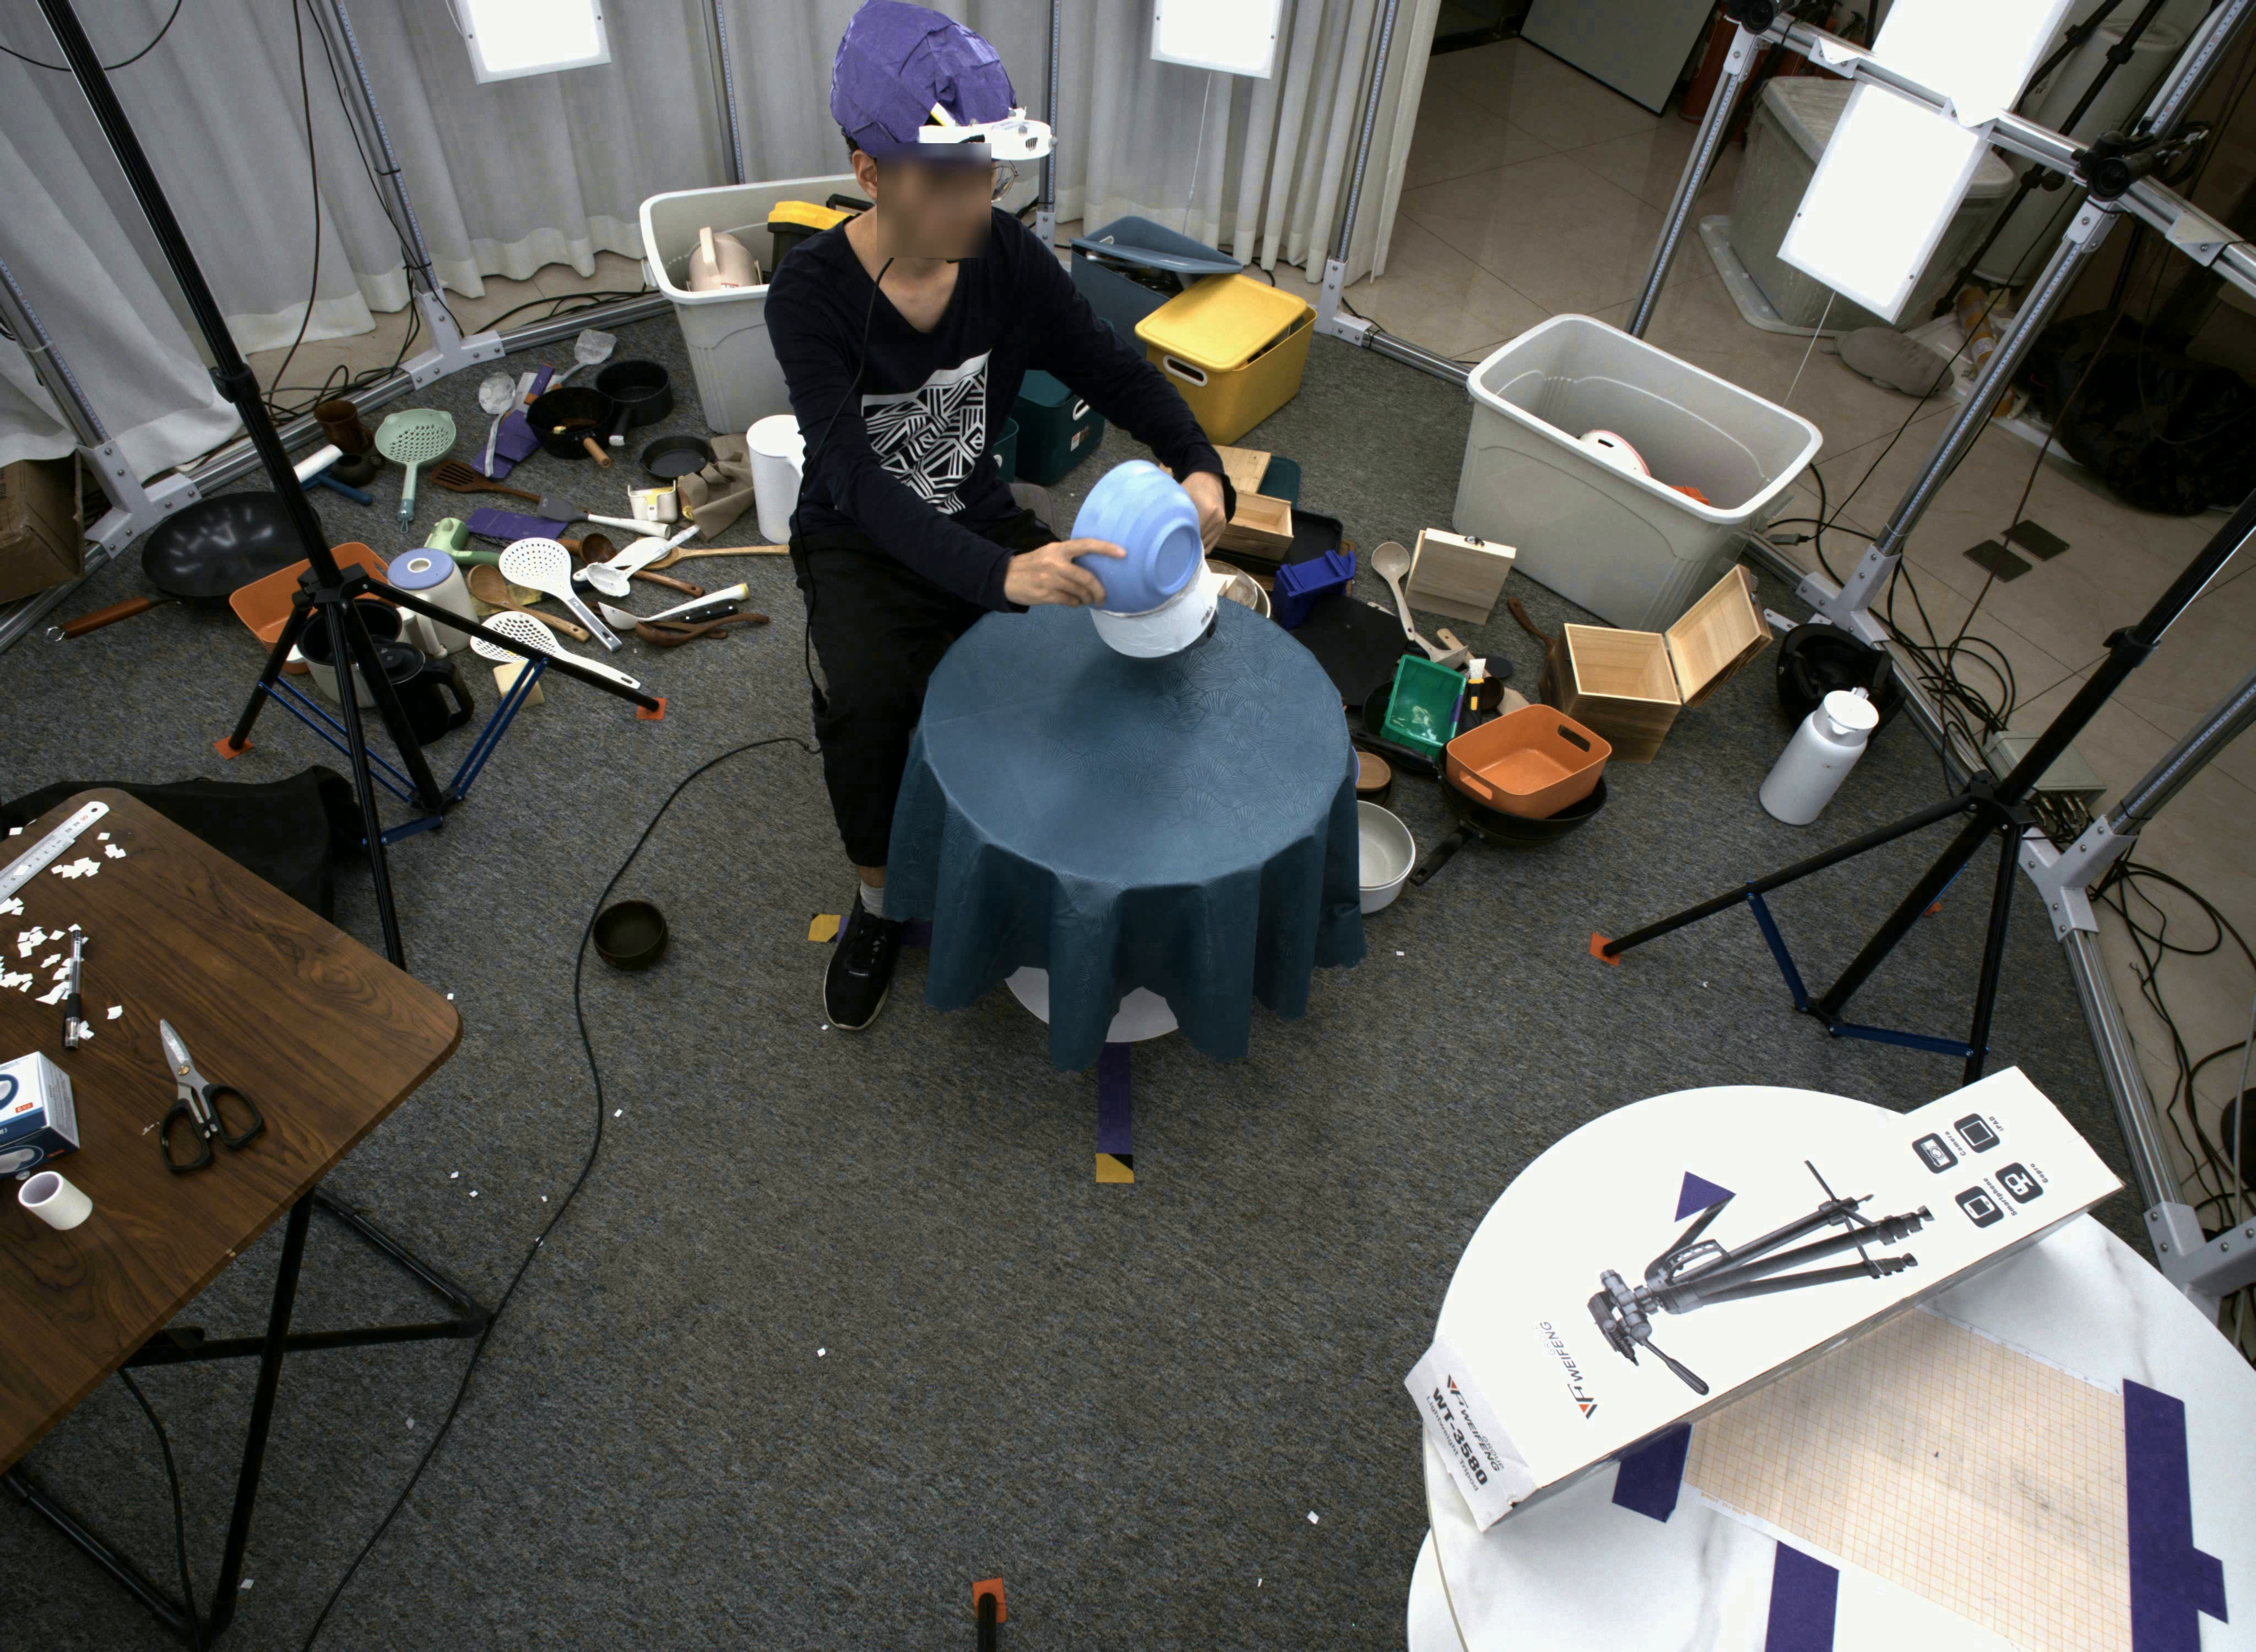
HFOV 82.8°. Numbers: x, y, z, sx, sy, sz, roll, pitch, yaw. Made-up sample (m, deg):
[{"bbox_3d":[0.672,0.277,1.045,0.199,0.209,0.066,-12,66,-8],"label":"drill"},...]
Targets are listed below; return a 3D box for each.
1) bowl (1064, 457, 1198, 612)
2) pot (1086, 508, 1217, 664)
[{"bbox_3d":[0.022,-0.345,1.595,0.097,0.191,0.198,35,55,28],"label":"bowl"},{"bbox_3d":[0.042,-0.348,1.785,0.180,0.134,0.236,20,71,21],"label":"pot"}]
